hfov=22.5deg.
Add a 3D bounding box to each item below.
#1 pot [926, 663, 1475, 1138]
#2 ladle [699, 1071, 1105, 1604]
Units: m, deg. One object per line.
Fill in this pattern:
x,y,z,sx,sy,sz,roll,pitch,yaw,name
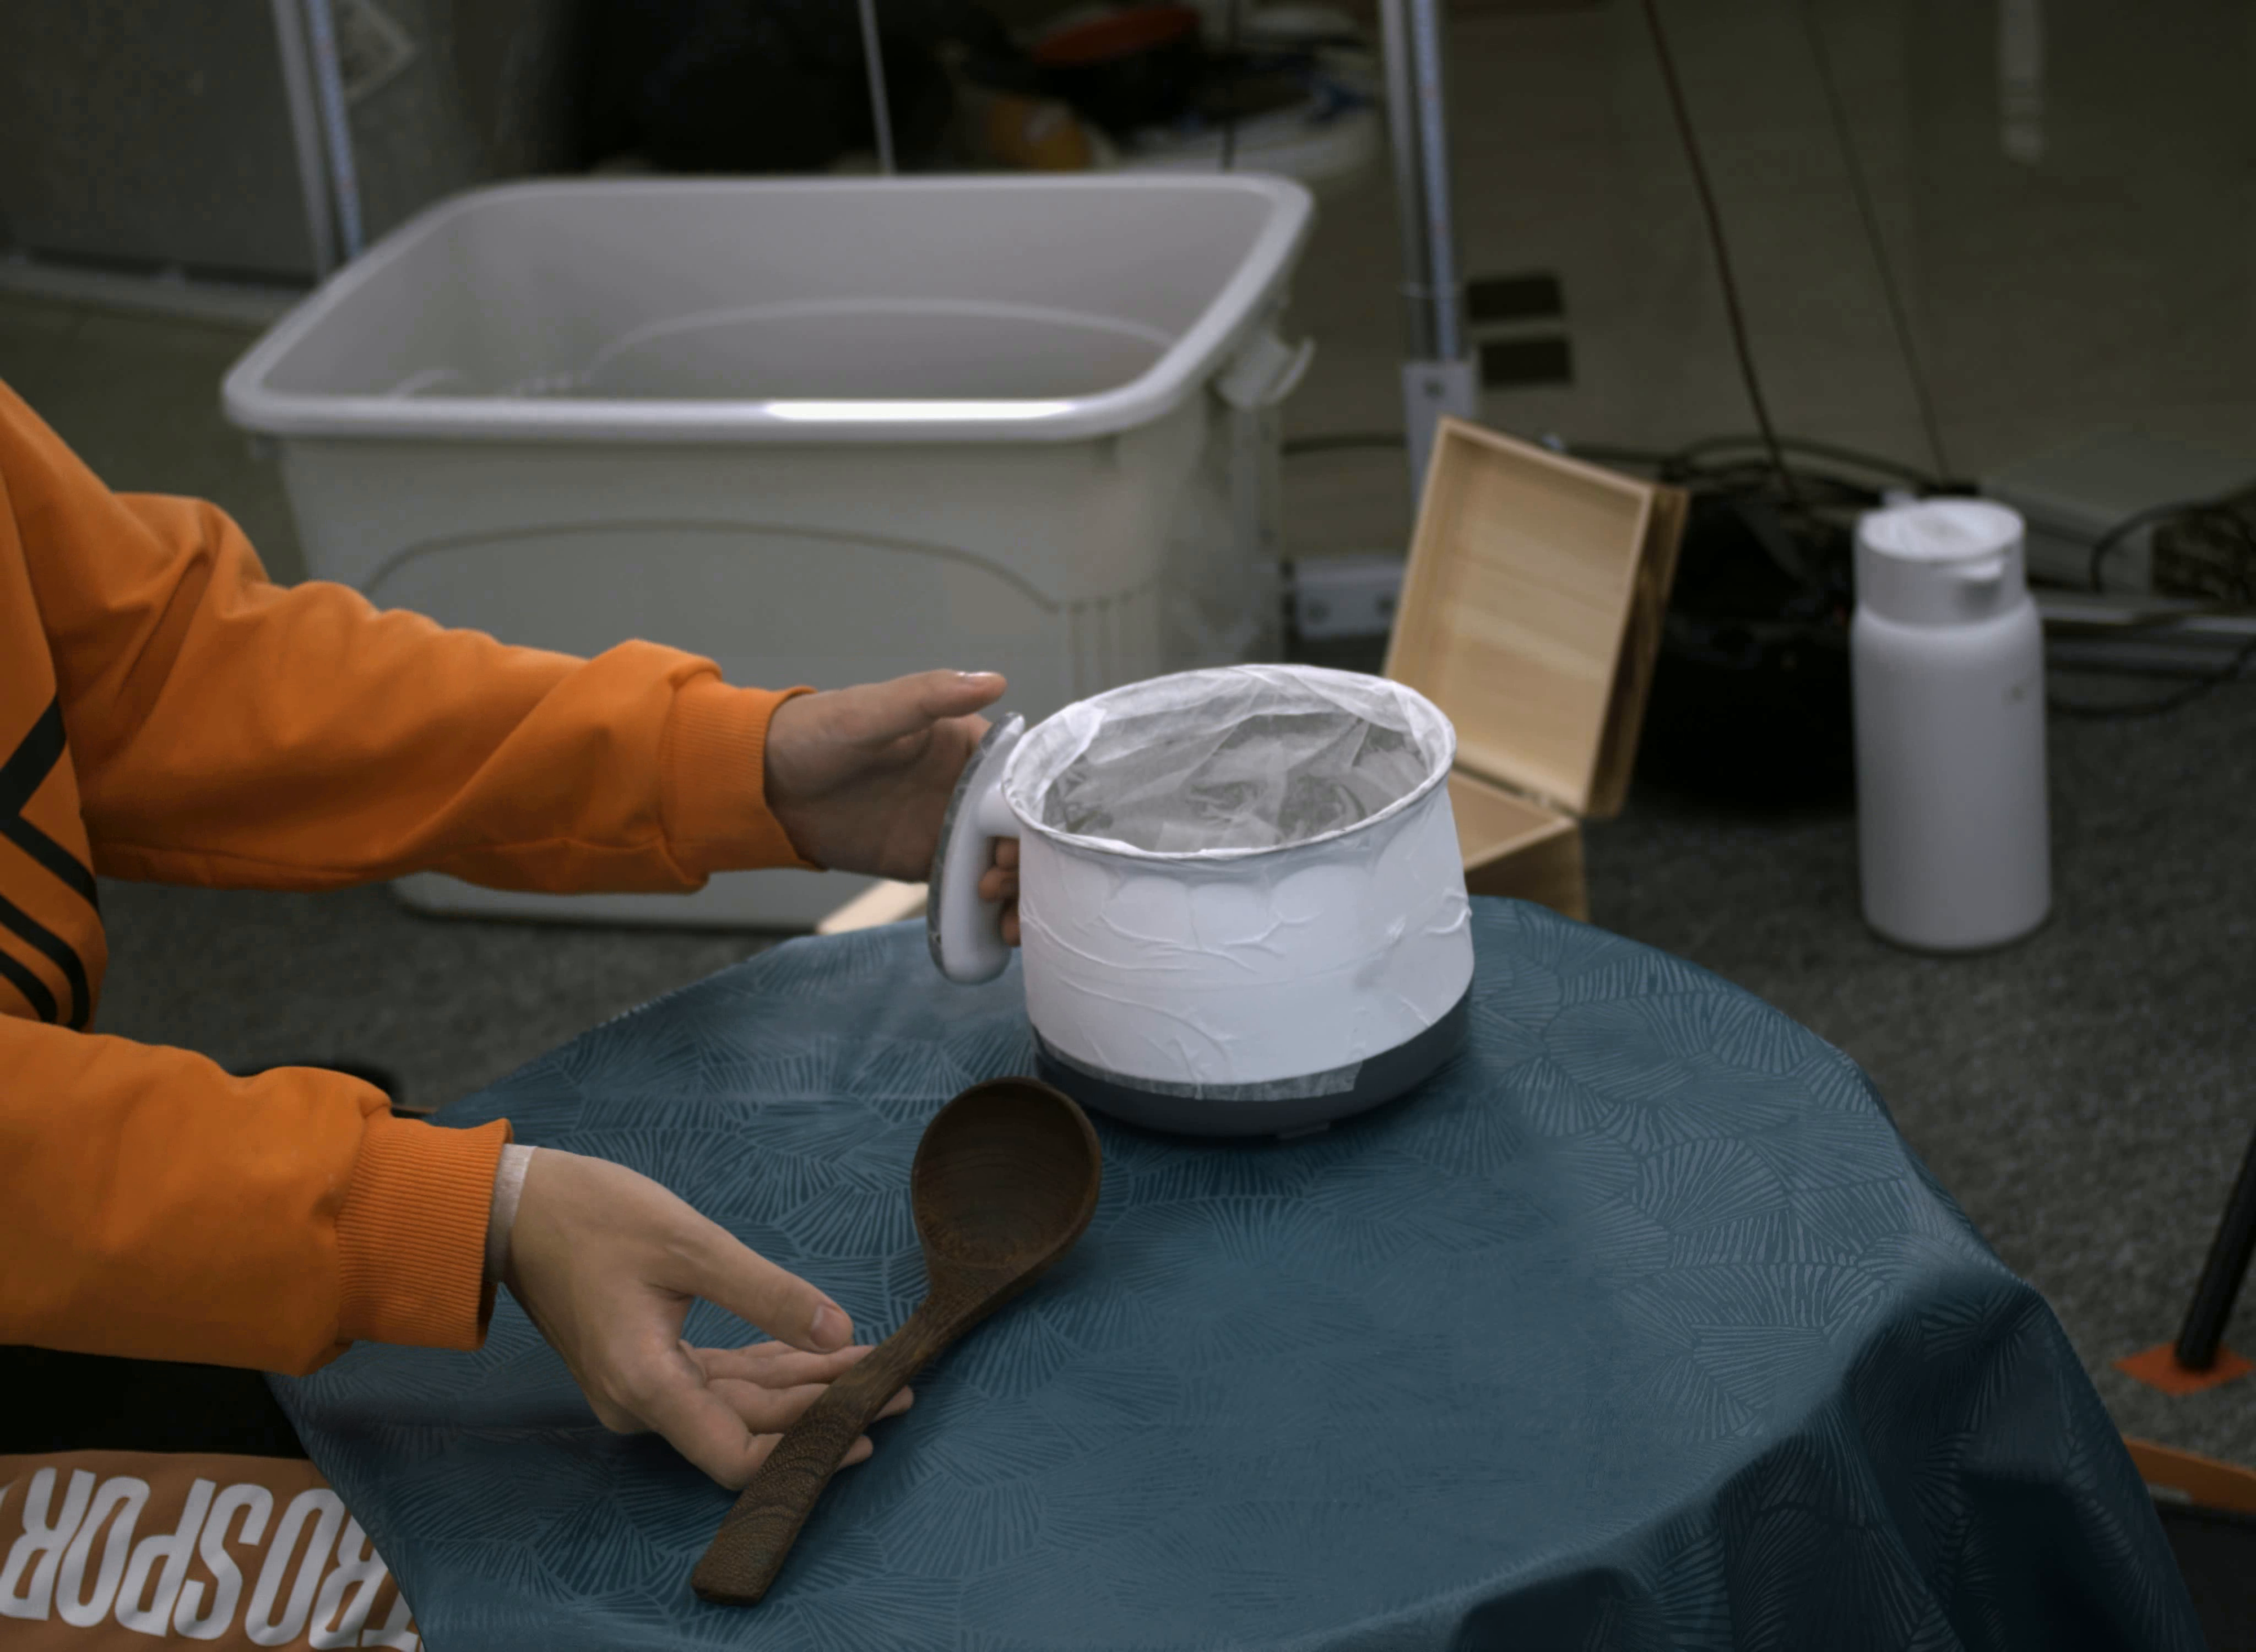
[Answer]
0.021,0.027,2.216,0.232,0.139,0.176,9,29,28,pot
-0.085,0.174,2.008,0.076,0.072,0.270,4,26,24,ladle
